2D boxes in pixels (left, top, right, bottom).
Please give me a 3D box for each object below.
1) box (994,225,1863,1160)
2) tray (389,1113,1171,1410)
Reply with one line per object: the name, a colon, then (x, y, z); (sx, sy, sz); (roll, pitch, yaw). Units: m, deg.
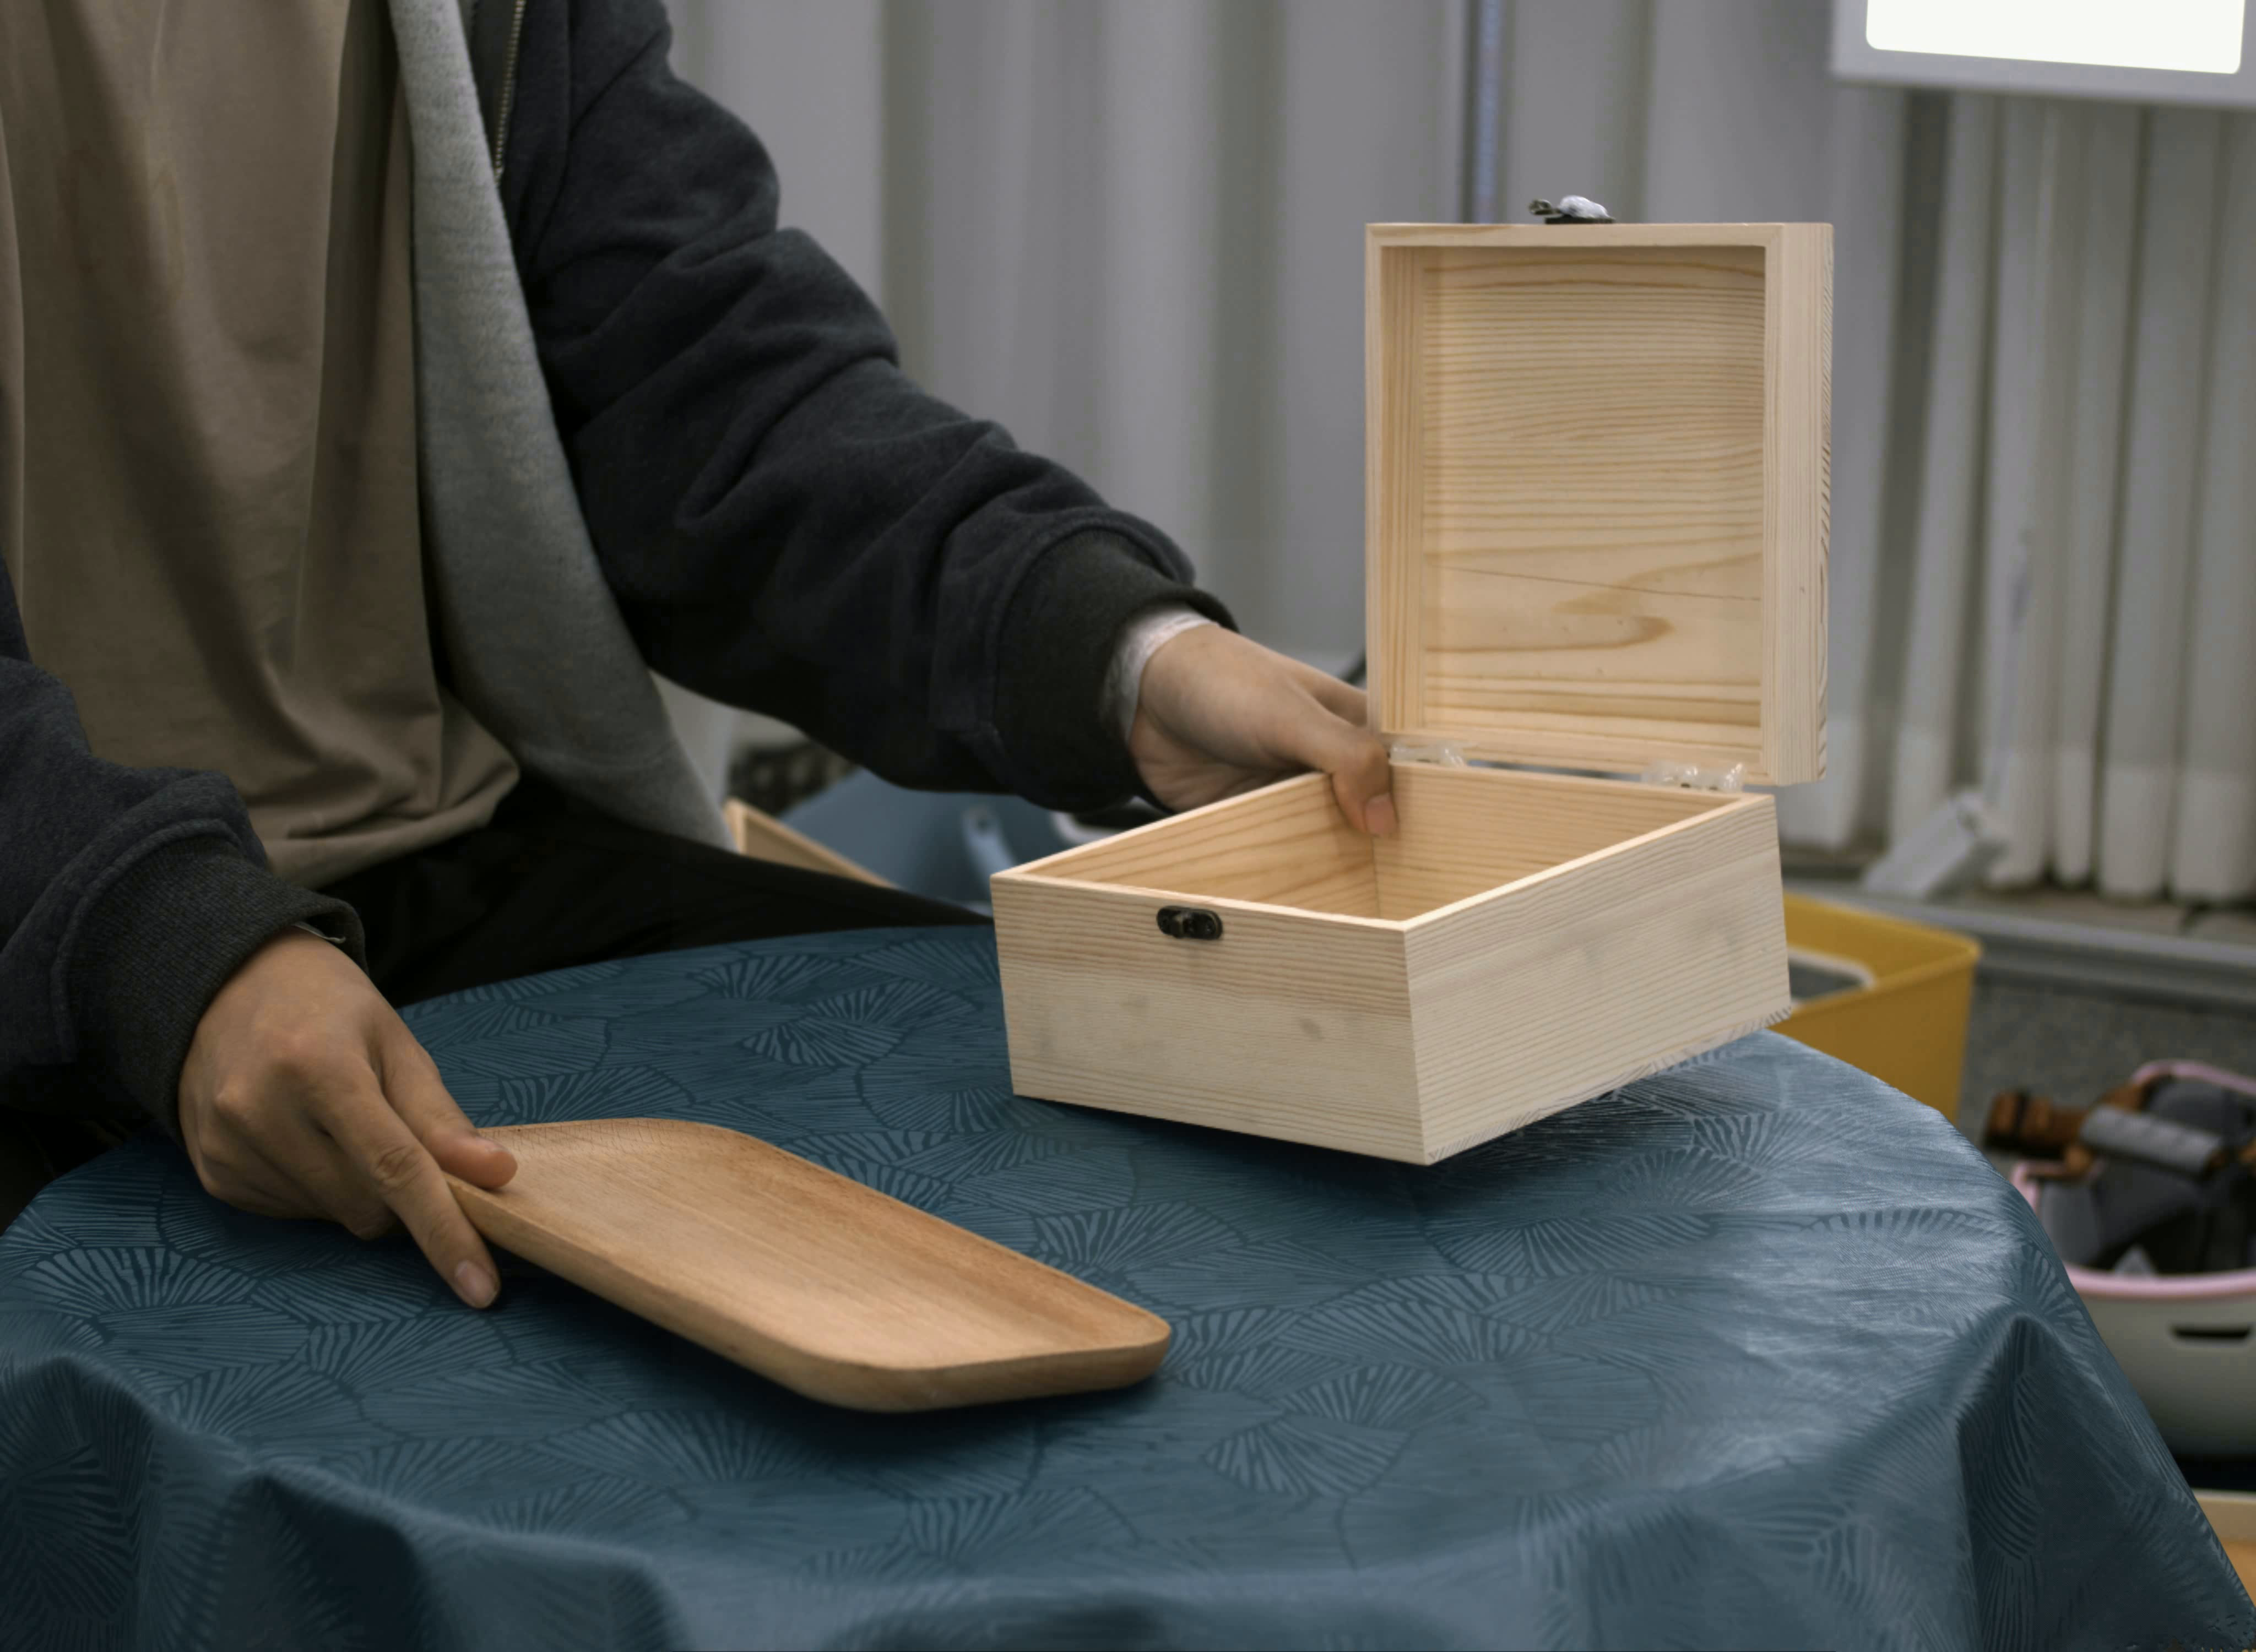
box: (0.100, -0.052, 1.708); (0.179, 0.255, 0.266); (3, 15, 44)
tray: (-0.104, 0.123, 1.516); (0.131, 0.023, 0.247); (3, 10, -40)
